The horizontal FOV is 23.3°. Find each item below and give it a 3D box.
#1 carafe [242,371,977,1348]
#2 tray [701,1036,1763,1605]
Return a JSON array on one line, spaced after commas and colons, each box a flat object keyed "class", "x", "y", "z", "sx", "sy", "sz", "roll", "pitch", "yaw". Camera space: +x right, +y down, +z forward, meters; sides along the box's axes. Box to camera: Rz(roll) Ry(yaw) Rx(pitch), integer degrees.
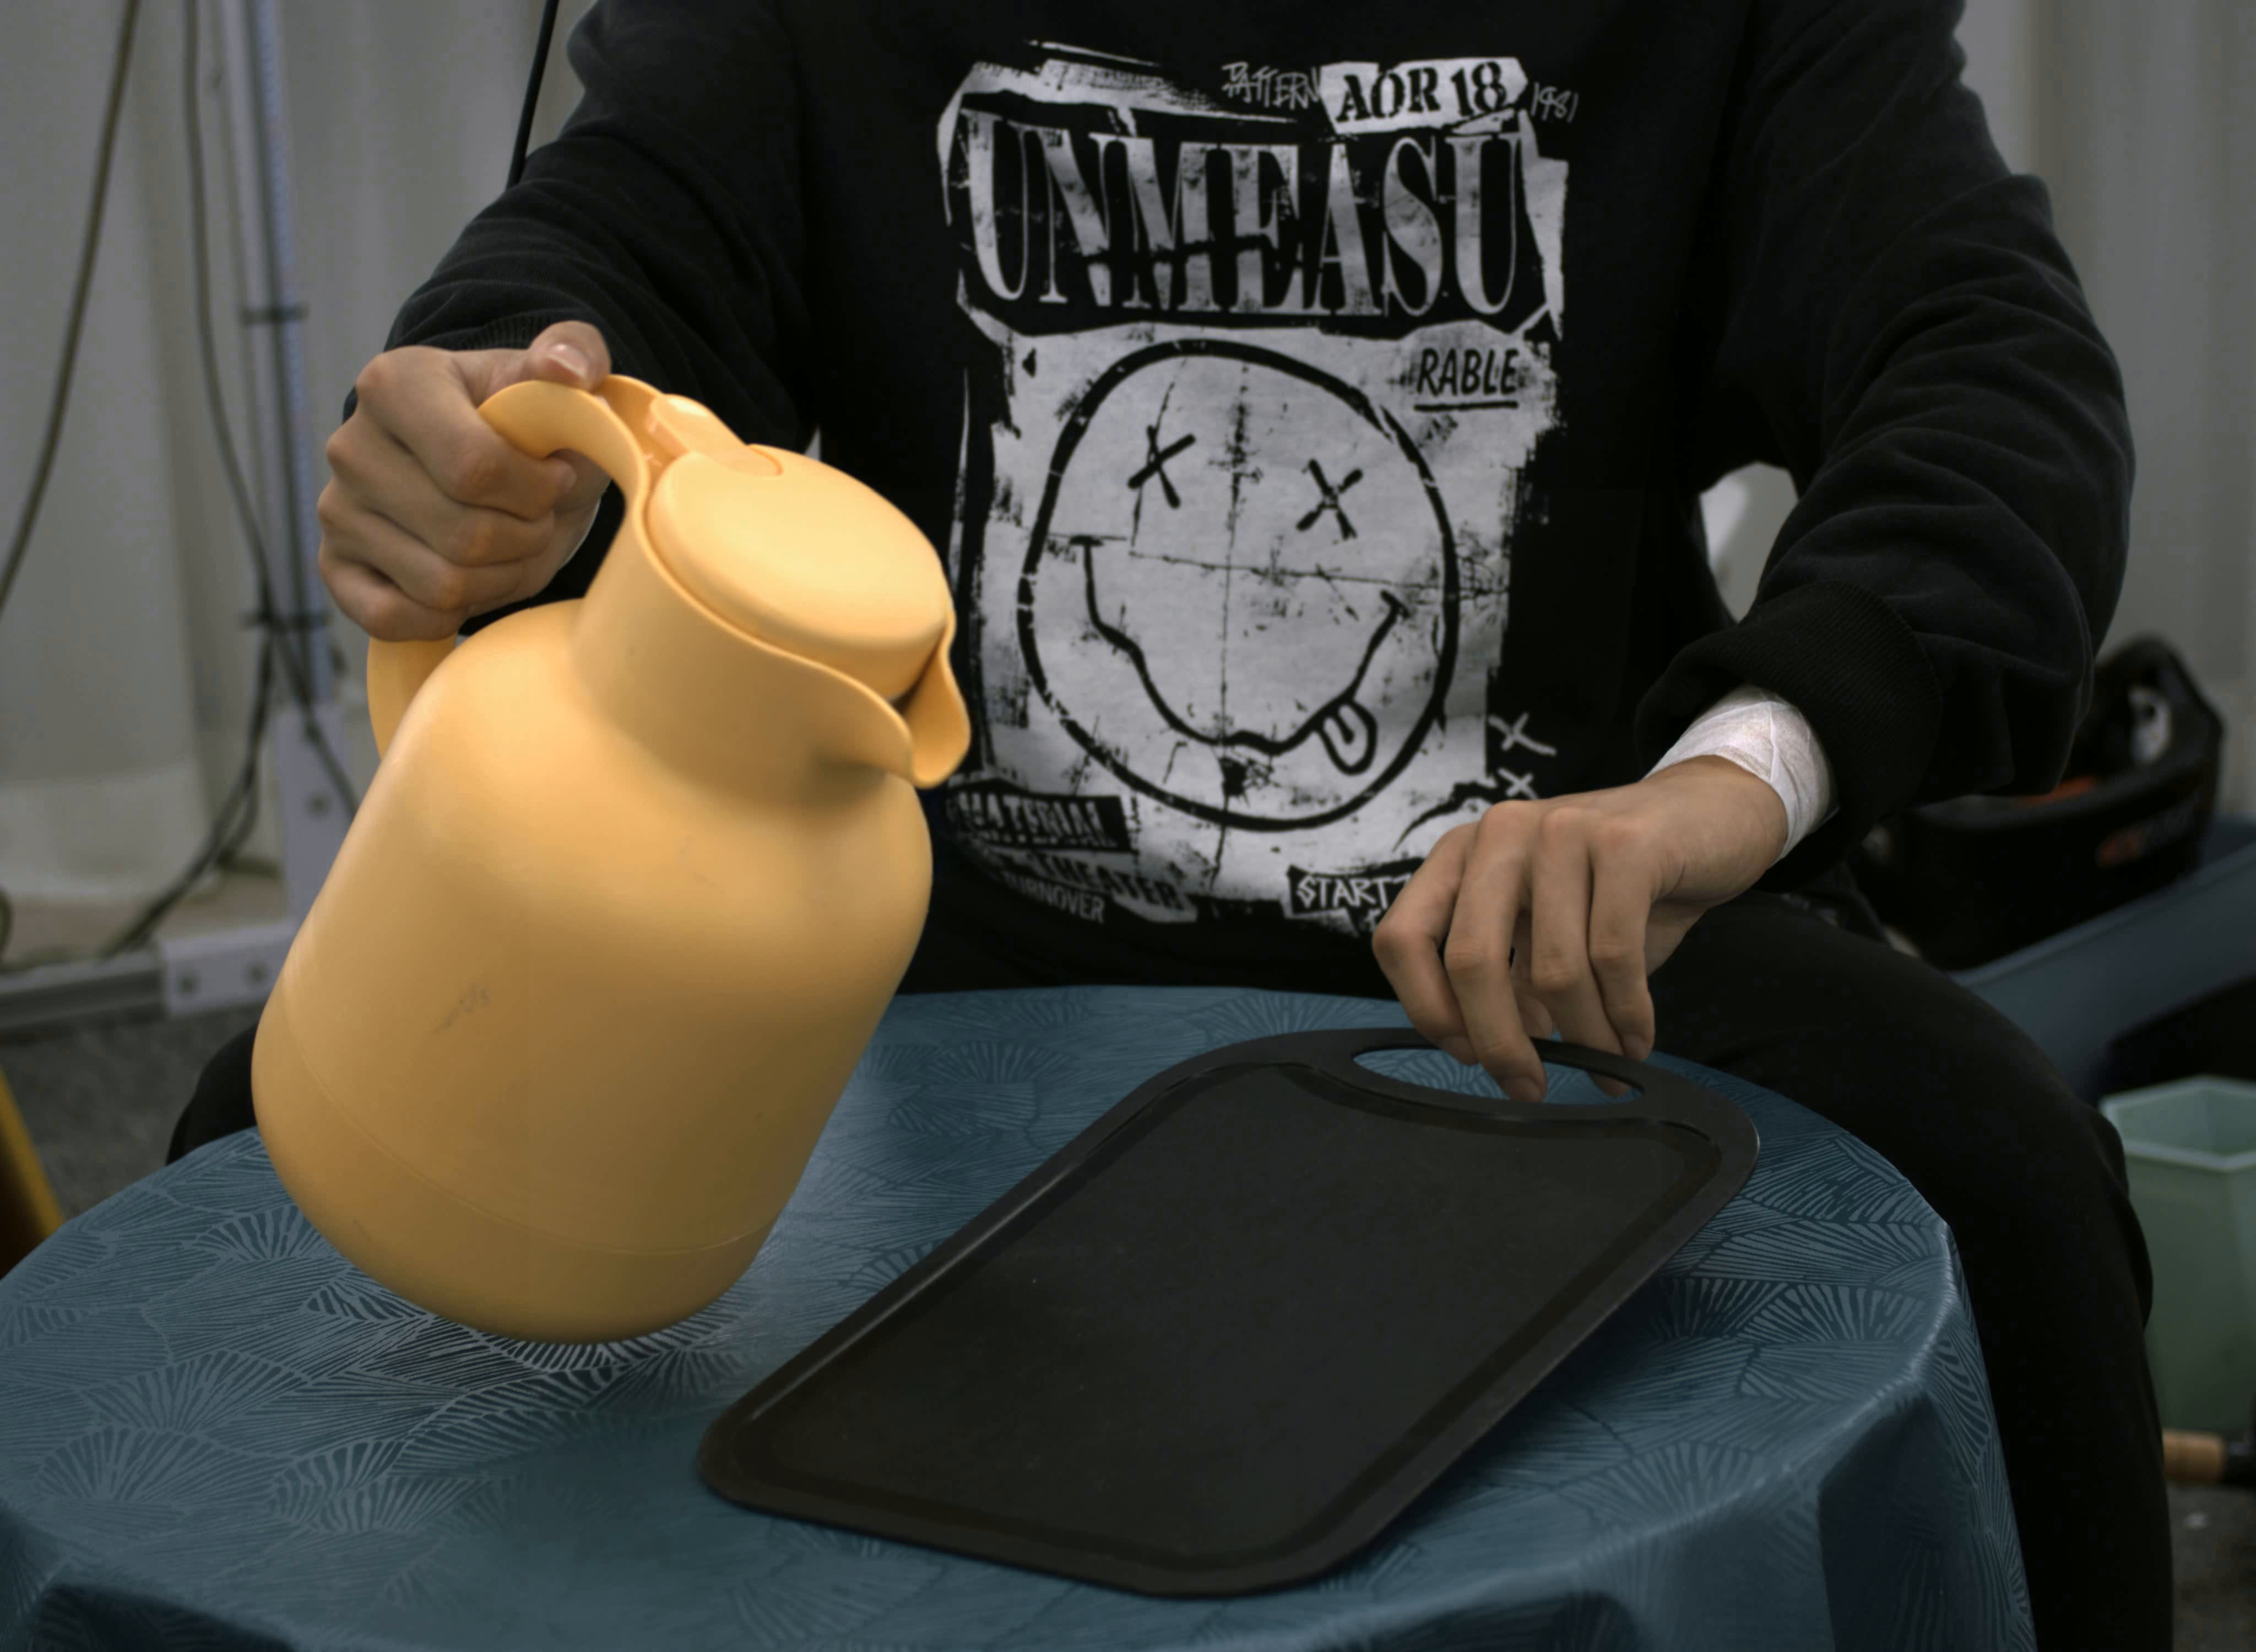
[{"class": "carafe", "x": -0.150, "y": 0.001, "z": 1.571, "sx": 0.162, "sy": 0.258, "sz": 0.205, "roll": -5, "pitch": 44, "yaw": -48}, {"class": "tray", "x": 0.038, "y": 0.128, "z": 1.556, "sx": 0.212, "sy": 0.010, "sz": 0.326, "roll": 8, "pitch": 26, "yaw": 33}]
